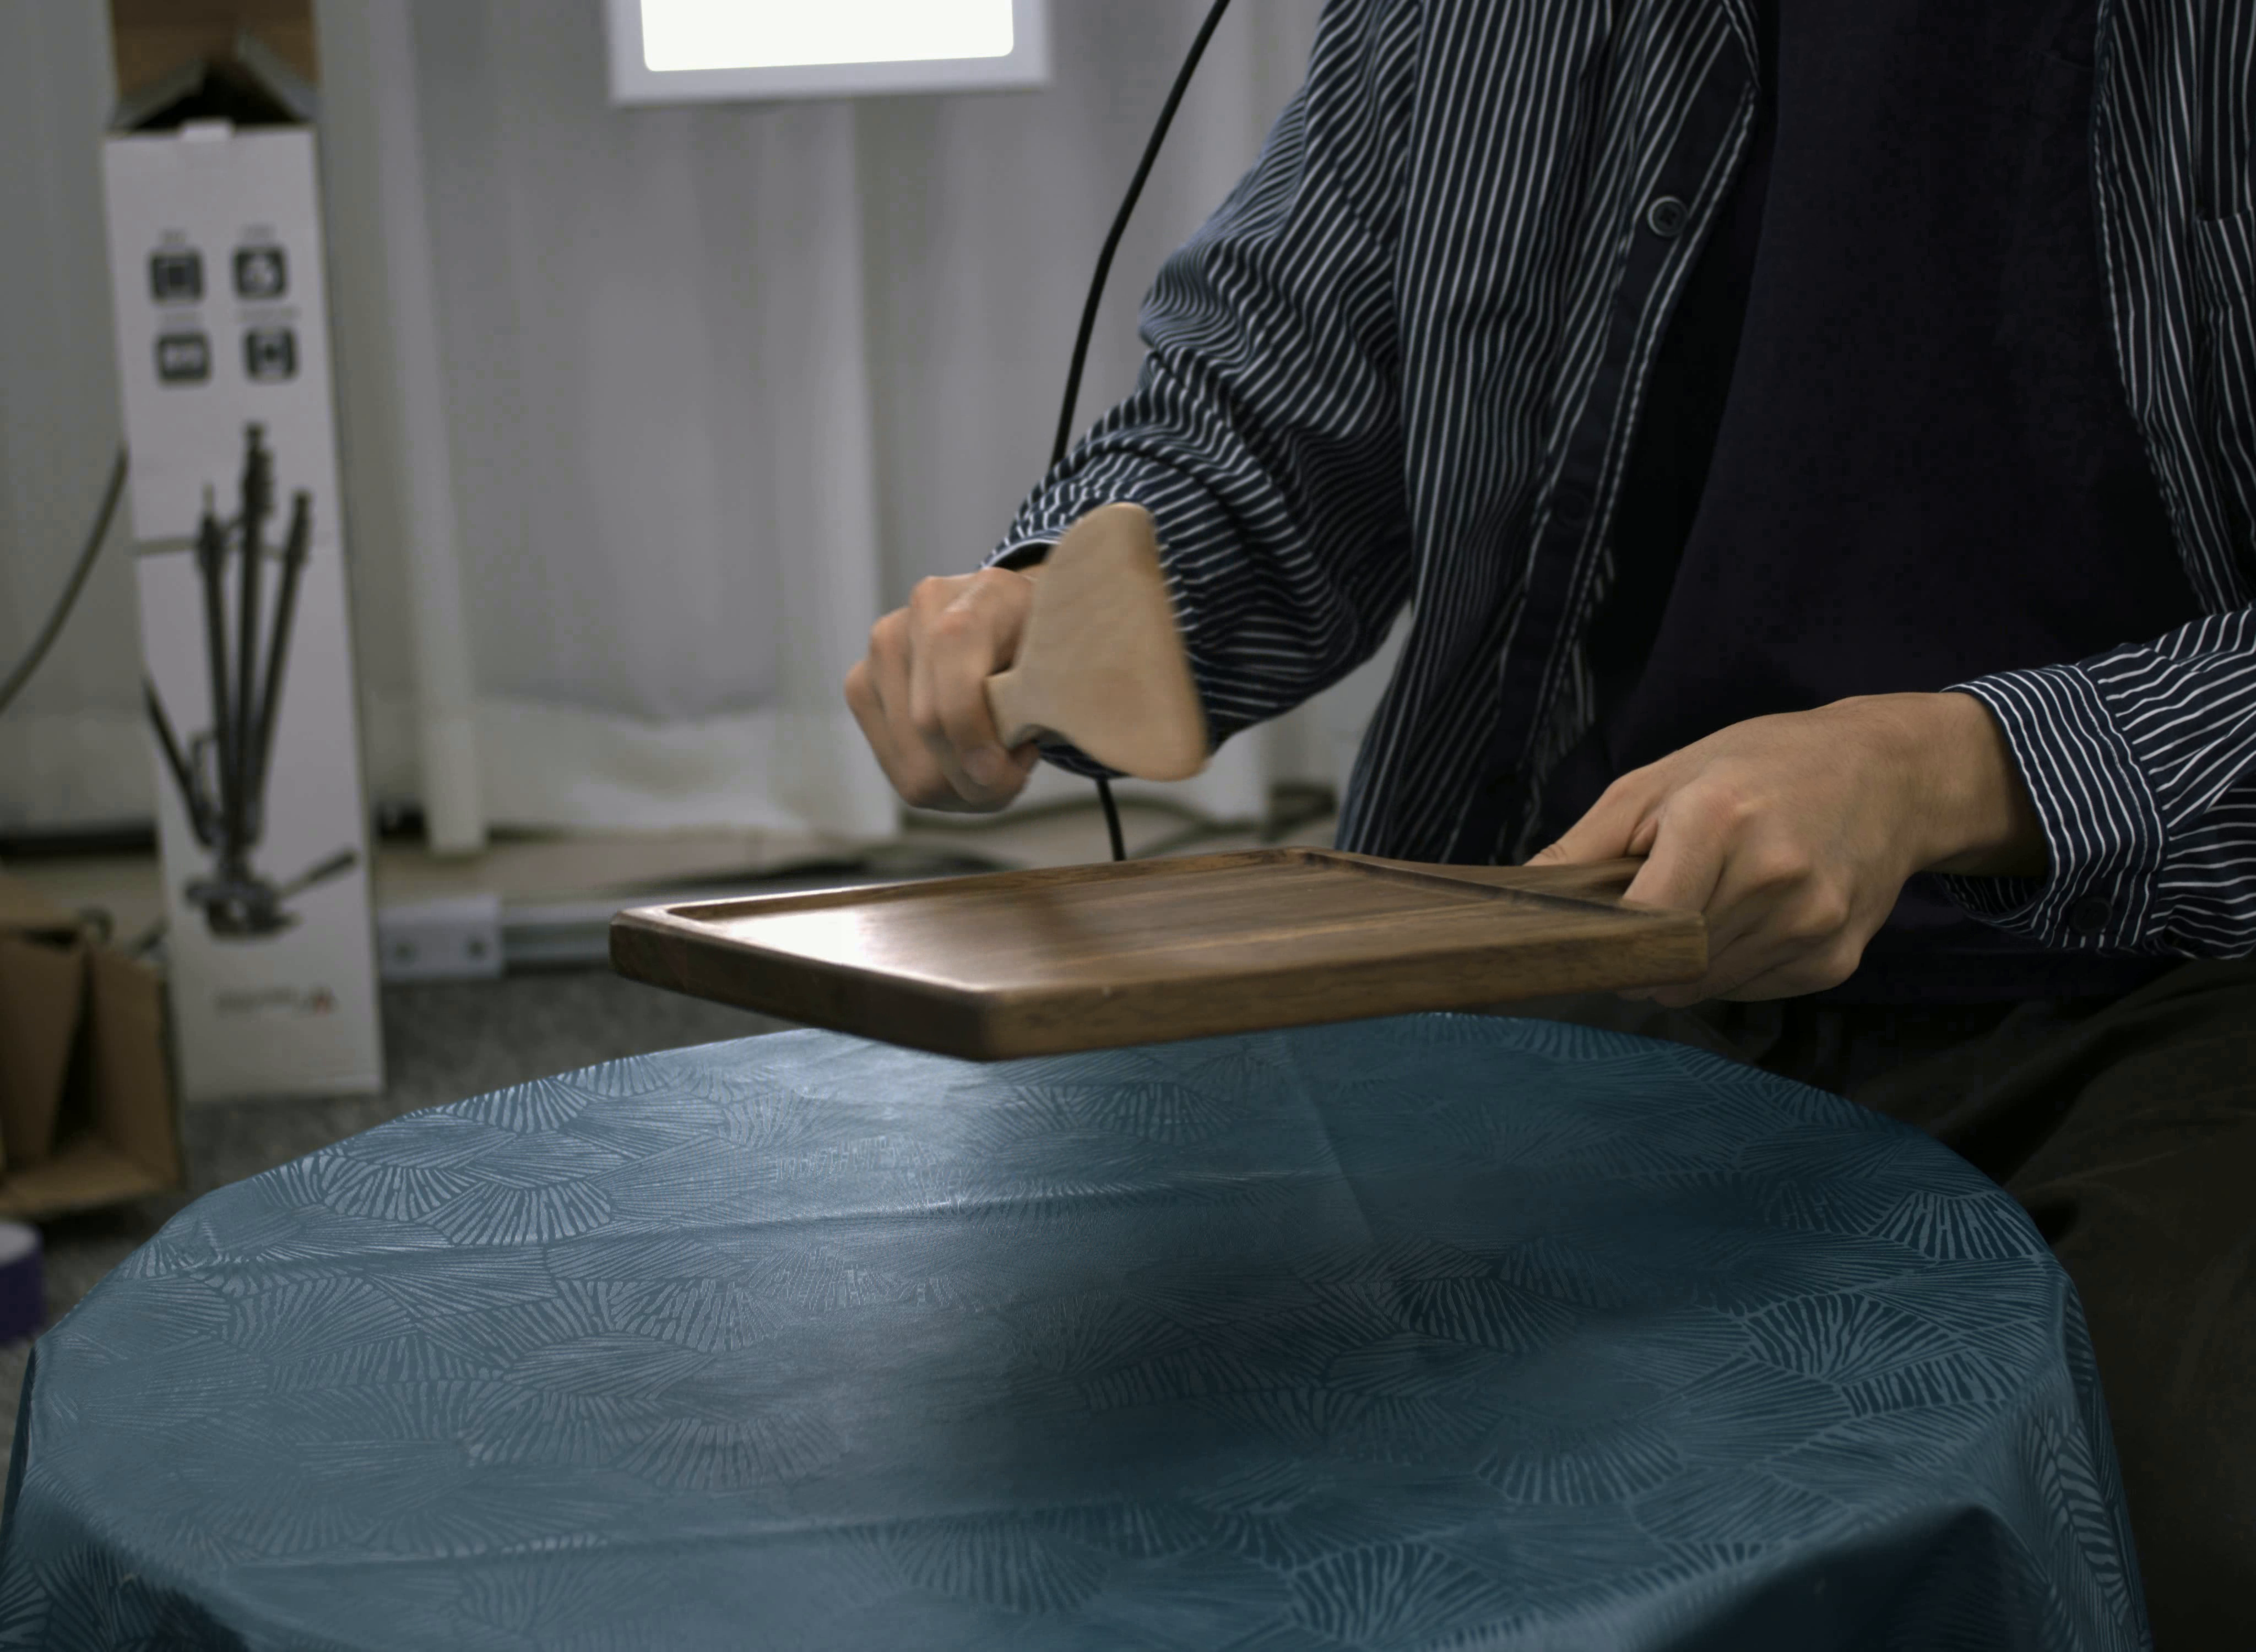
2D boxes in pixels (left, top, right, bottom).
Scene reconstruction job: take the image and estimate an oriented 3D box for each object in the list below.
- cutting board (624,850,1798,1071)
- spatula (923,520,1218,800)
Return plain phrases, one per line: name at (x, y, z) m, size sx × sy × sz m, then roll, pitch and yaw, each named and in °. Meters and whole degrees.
cutting board at (0.054, 0.031, 1.555) m, size 0.350 × 0.023 × 0.202 m, roll -5°, pitch 8°, yaw -34°
spatula at (-0.024, -0.036, 1.659) m, size 0.016 × 0.080 × 0.327 m, roll -18°, pitch 0°, yaw -13°
